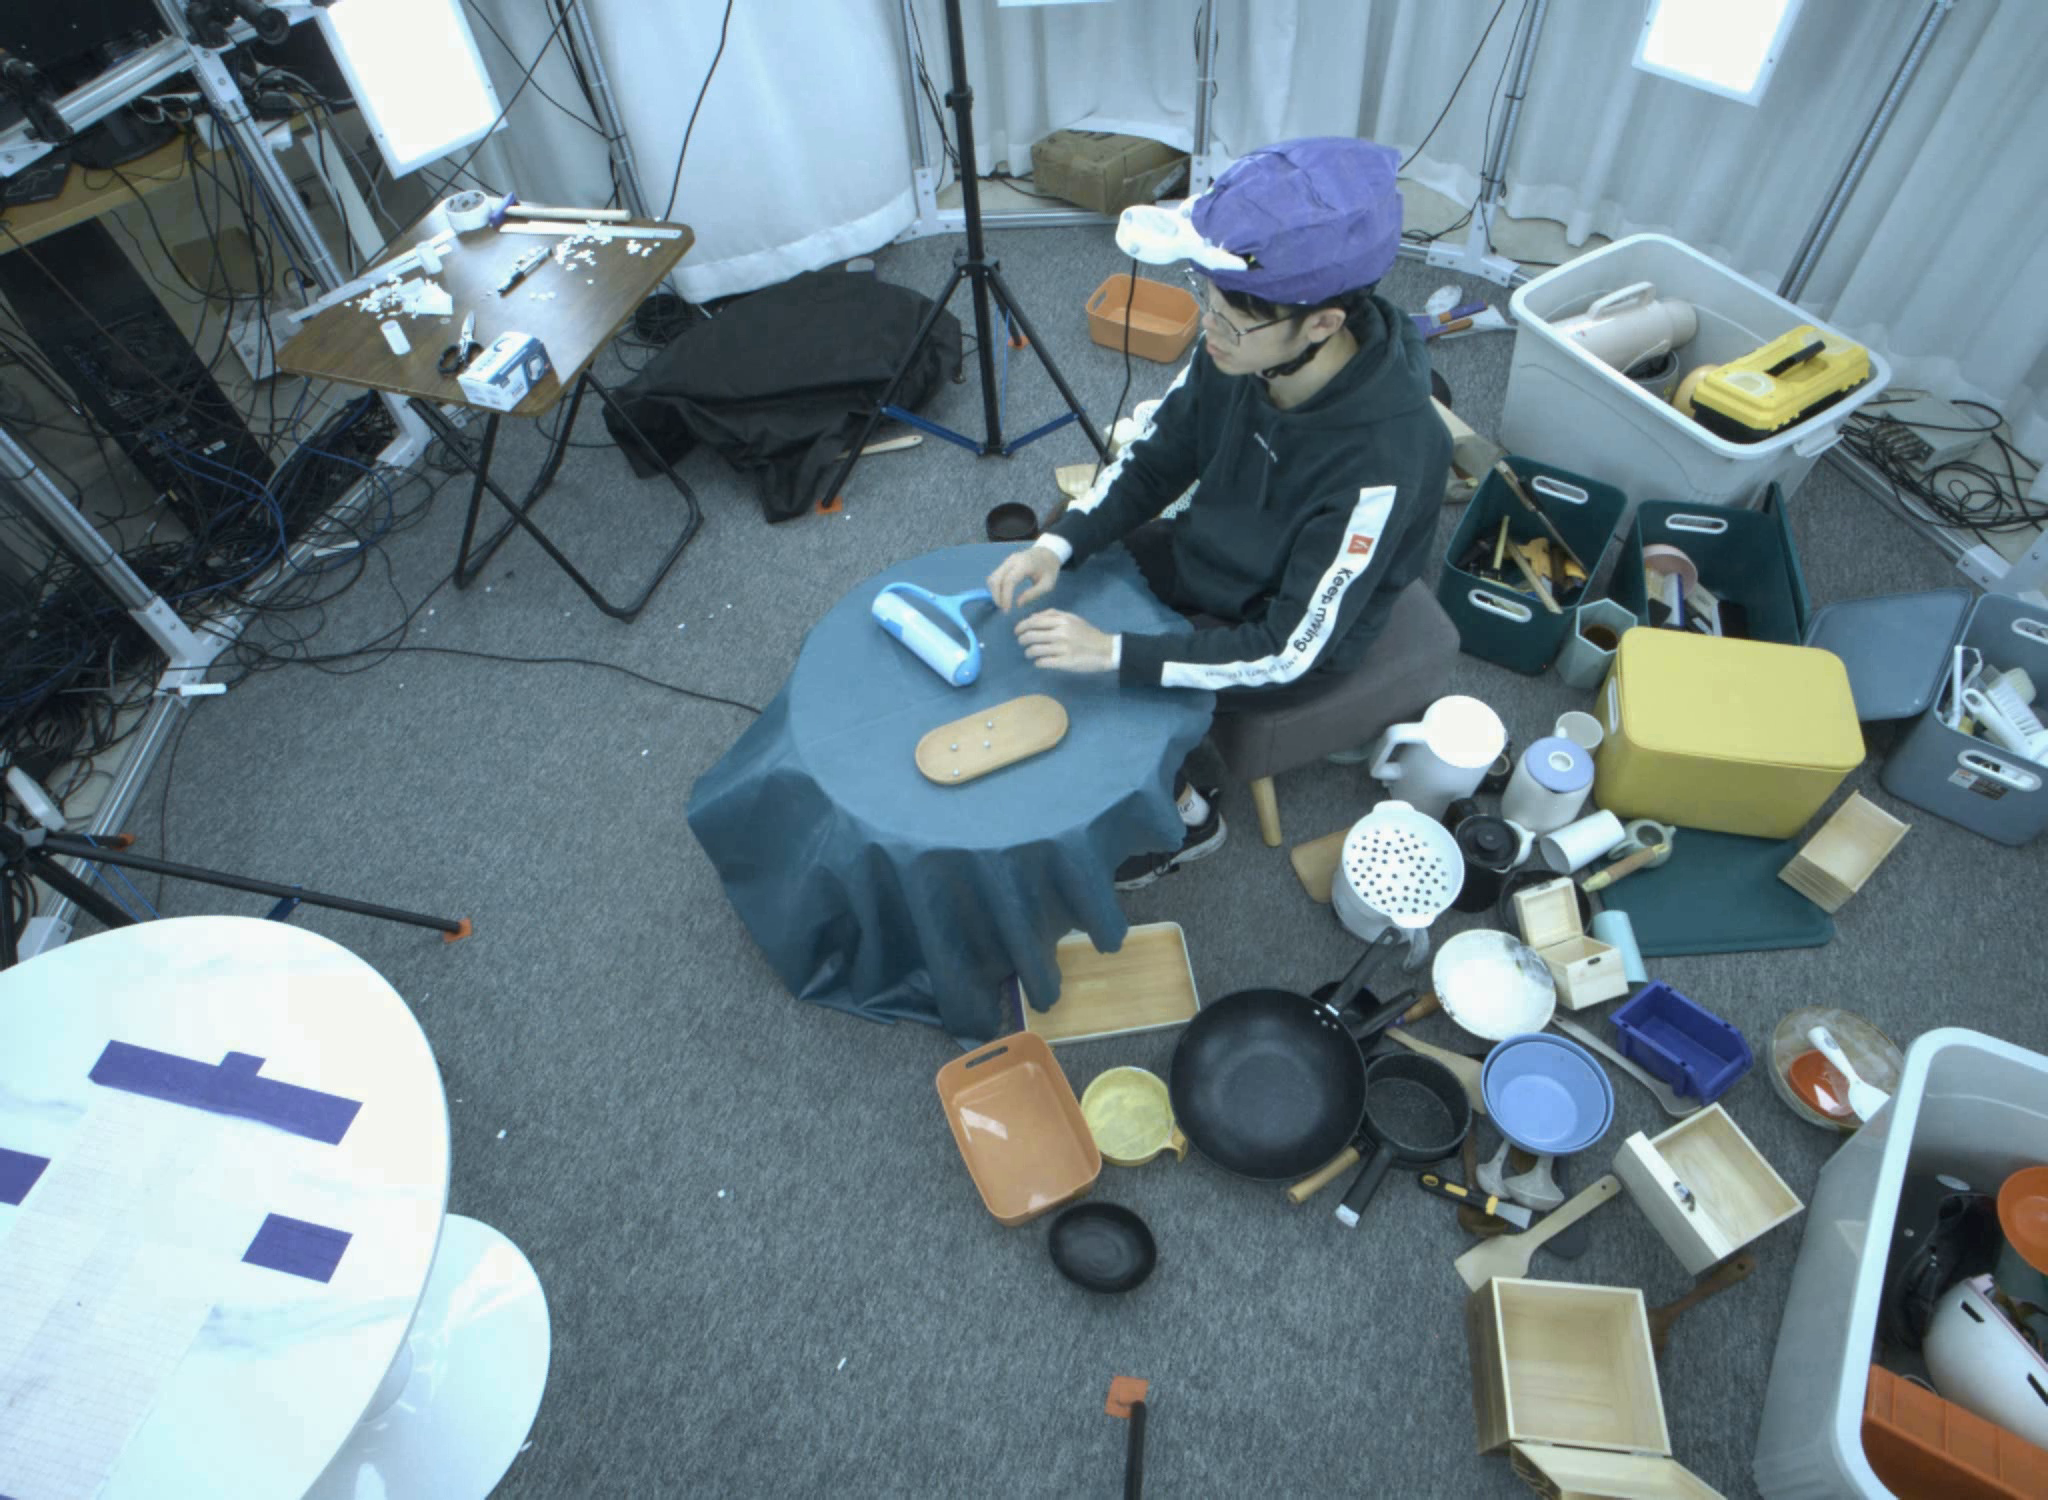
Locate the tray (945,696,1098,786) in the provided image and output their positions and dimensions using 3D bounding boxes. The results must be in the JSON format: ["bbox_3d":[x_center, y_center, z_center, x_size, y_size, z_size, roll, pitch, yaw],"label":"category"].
[{"bbox_3d":[-0.003,-0.013,1.783,0.233,0.020,0.100,-20,57,-13],"label":"tray"}]

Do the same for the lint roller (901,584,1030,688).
[{"bbox_3d":[-0.066,-0.205,1.895,0.181,0.069,0.224,-40,61,-22],"label":"lint roller"}]
